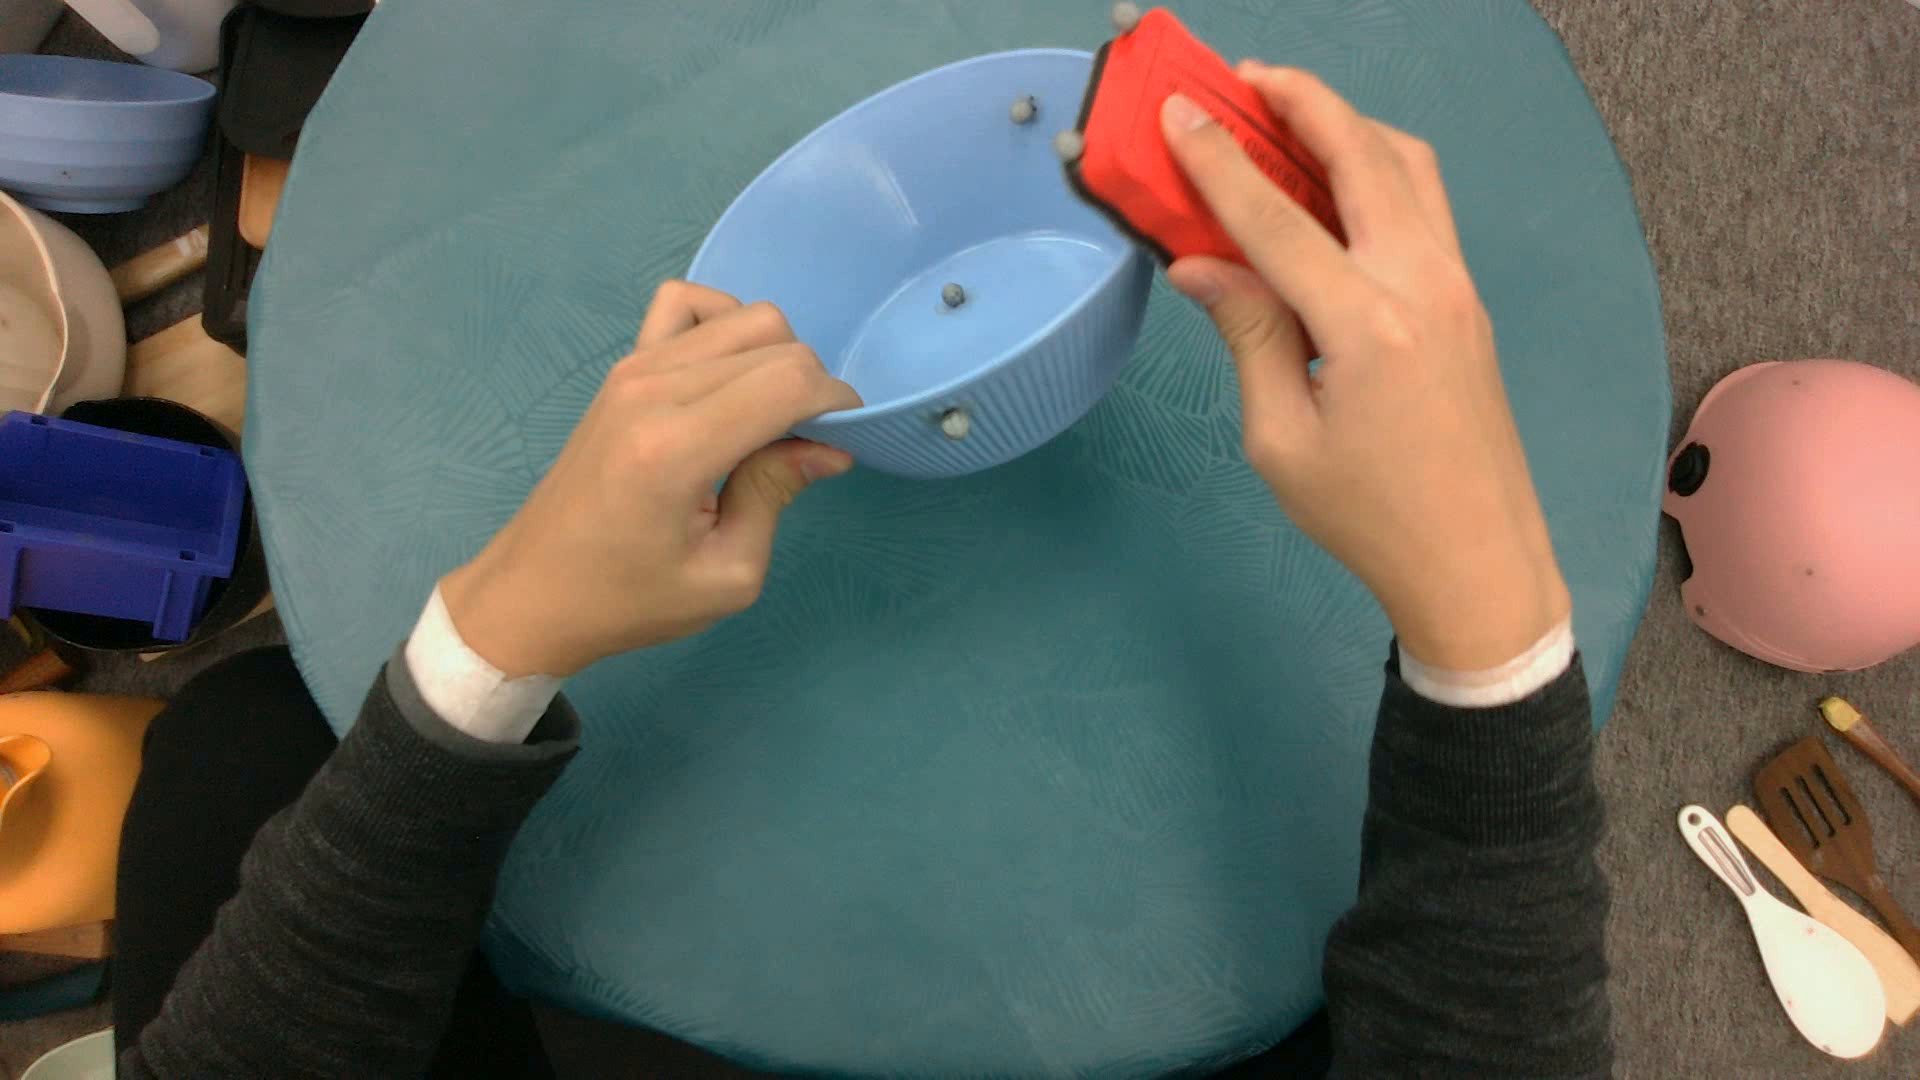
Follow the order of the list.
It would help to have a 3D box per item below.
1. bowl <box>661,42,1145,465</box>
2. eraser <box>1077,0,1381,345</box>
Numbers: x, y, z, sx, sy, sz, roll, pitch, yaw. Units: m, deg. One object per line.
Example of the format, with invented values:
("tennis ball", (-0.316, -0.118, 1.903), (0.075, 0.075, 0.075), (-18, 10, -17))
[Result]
("bowl", (-0.010, -0.090, 0.473), (0.175, 0.070, 0.177), (-15, 47, 16))
("eraser", (0.084, -0.111, 0.417), (0.108, 0.023, 0.059), (34, 60, -29))
